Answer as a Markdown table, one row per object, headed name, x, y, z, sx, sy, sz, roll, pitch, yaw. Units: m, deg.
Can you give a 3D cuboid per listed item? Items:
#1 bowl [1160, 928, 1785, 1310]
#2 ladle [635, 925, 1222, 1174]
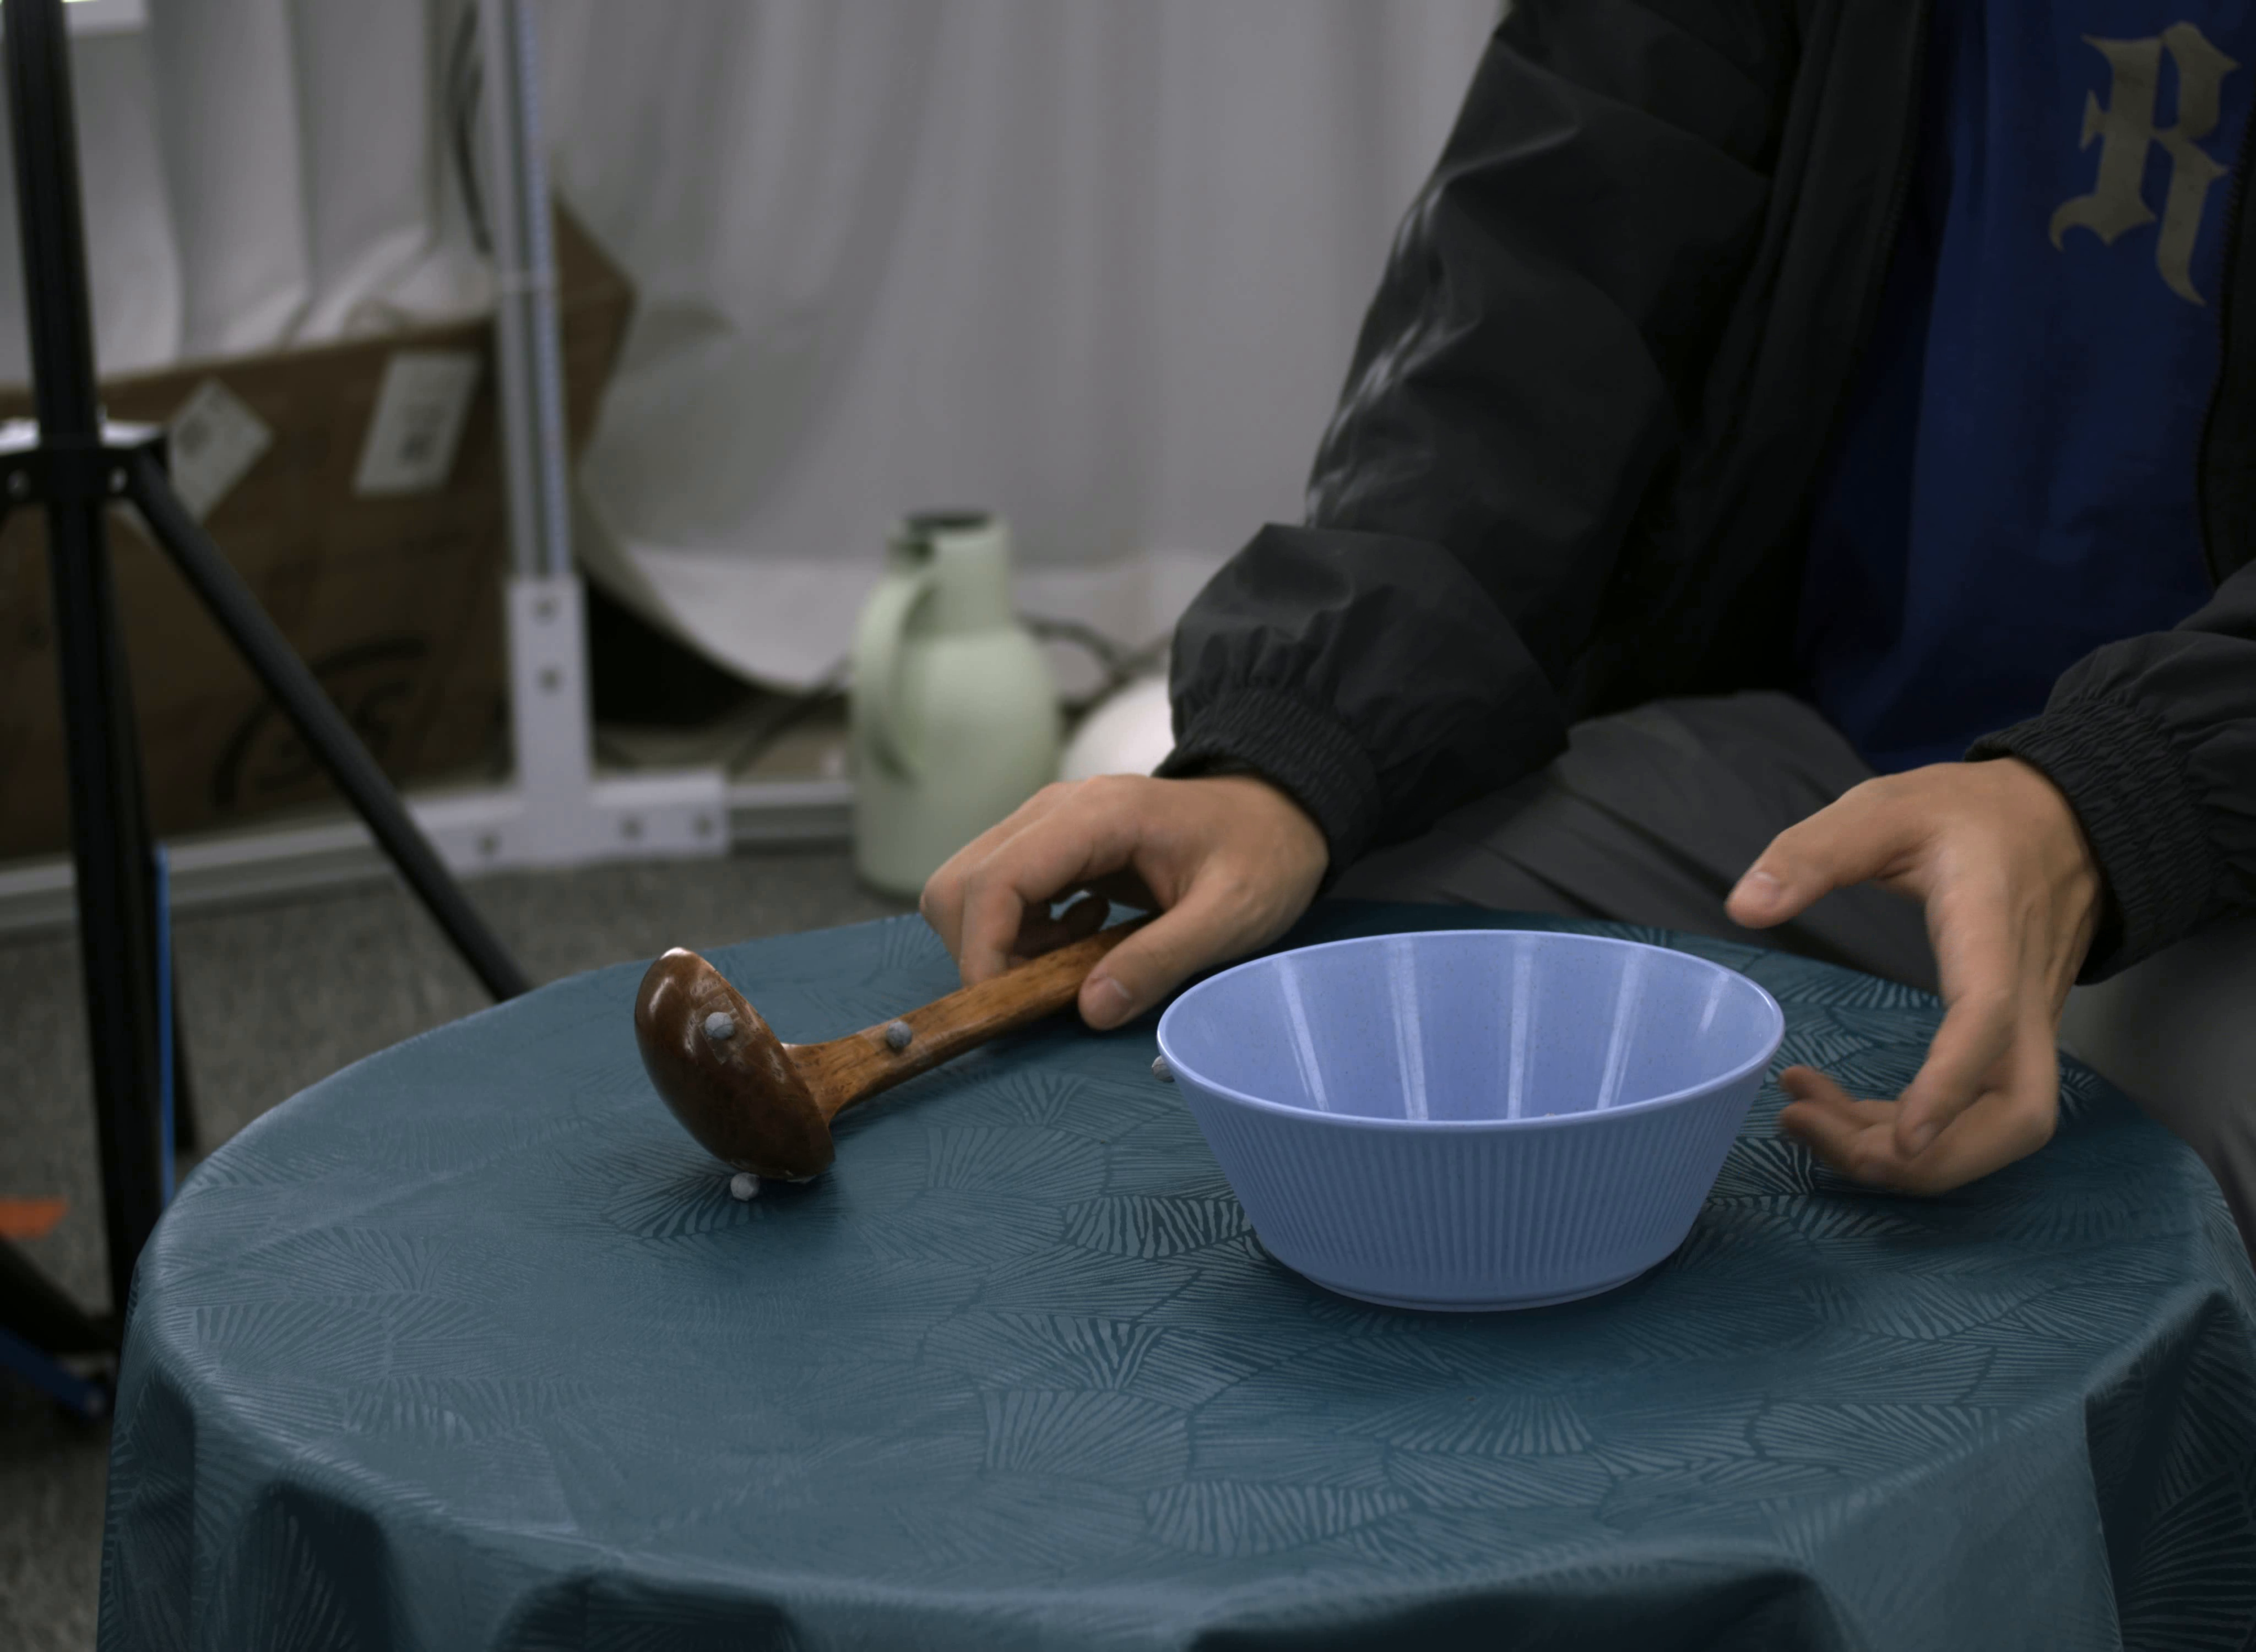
| name | x | y | z | sx | sy | sz | roll | pitch | yaw |
| --- | --- | --- | --- | --- | --- | --- | --- | --- | --- |
| bowl | 0.097 | 0.085 | 1.494 | 0.175 | 0.070 | 0.177 | -2 | 16 | -1 |
| ladle | -0.048 | 0.048 | 1.652 | 0.268 | 0.083 | 0.077 | -16 | -24 | -46 |
